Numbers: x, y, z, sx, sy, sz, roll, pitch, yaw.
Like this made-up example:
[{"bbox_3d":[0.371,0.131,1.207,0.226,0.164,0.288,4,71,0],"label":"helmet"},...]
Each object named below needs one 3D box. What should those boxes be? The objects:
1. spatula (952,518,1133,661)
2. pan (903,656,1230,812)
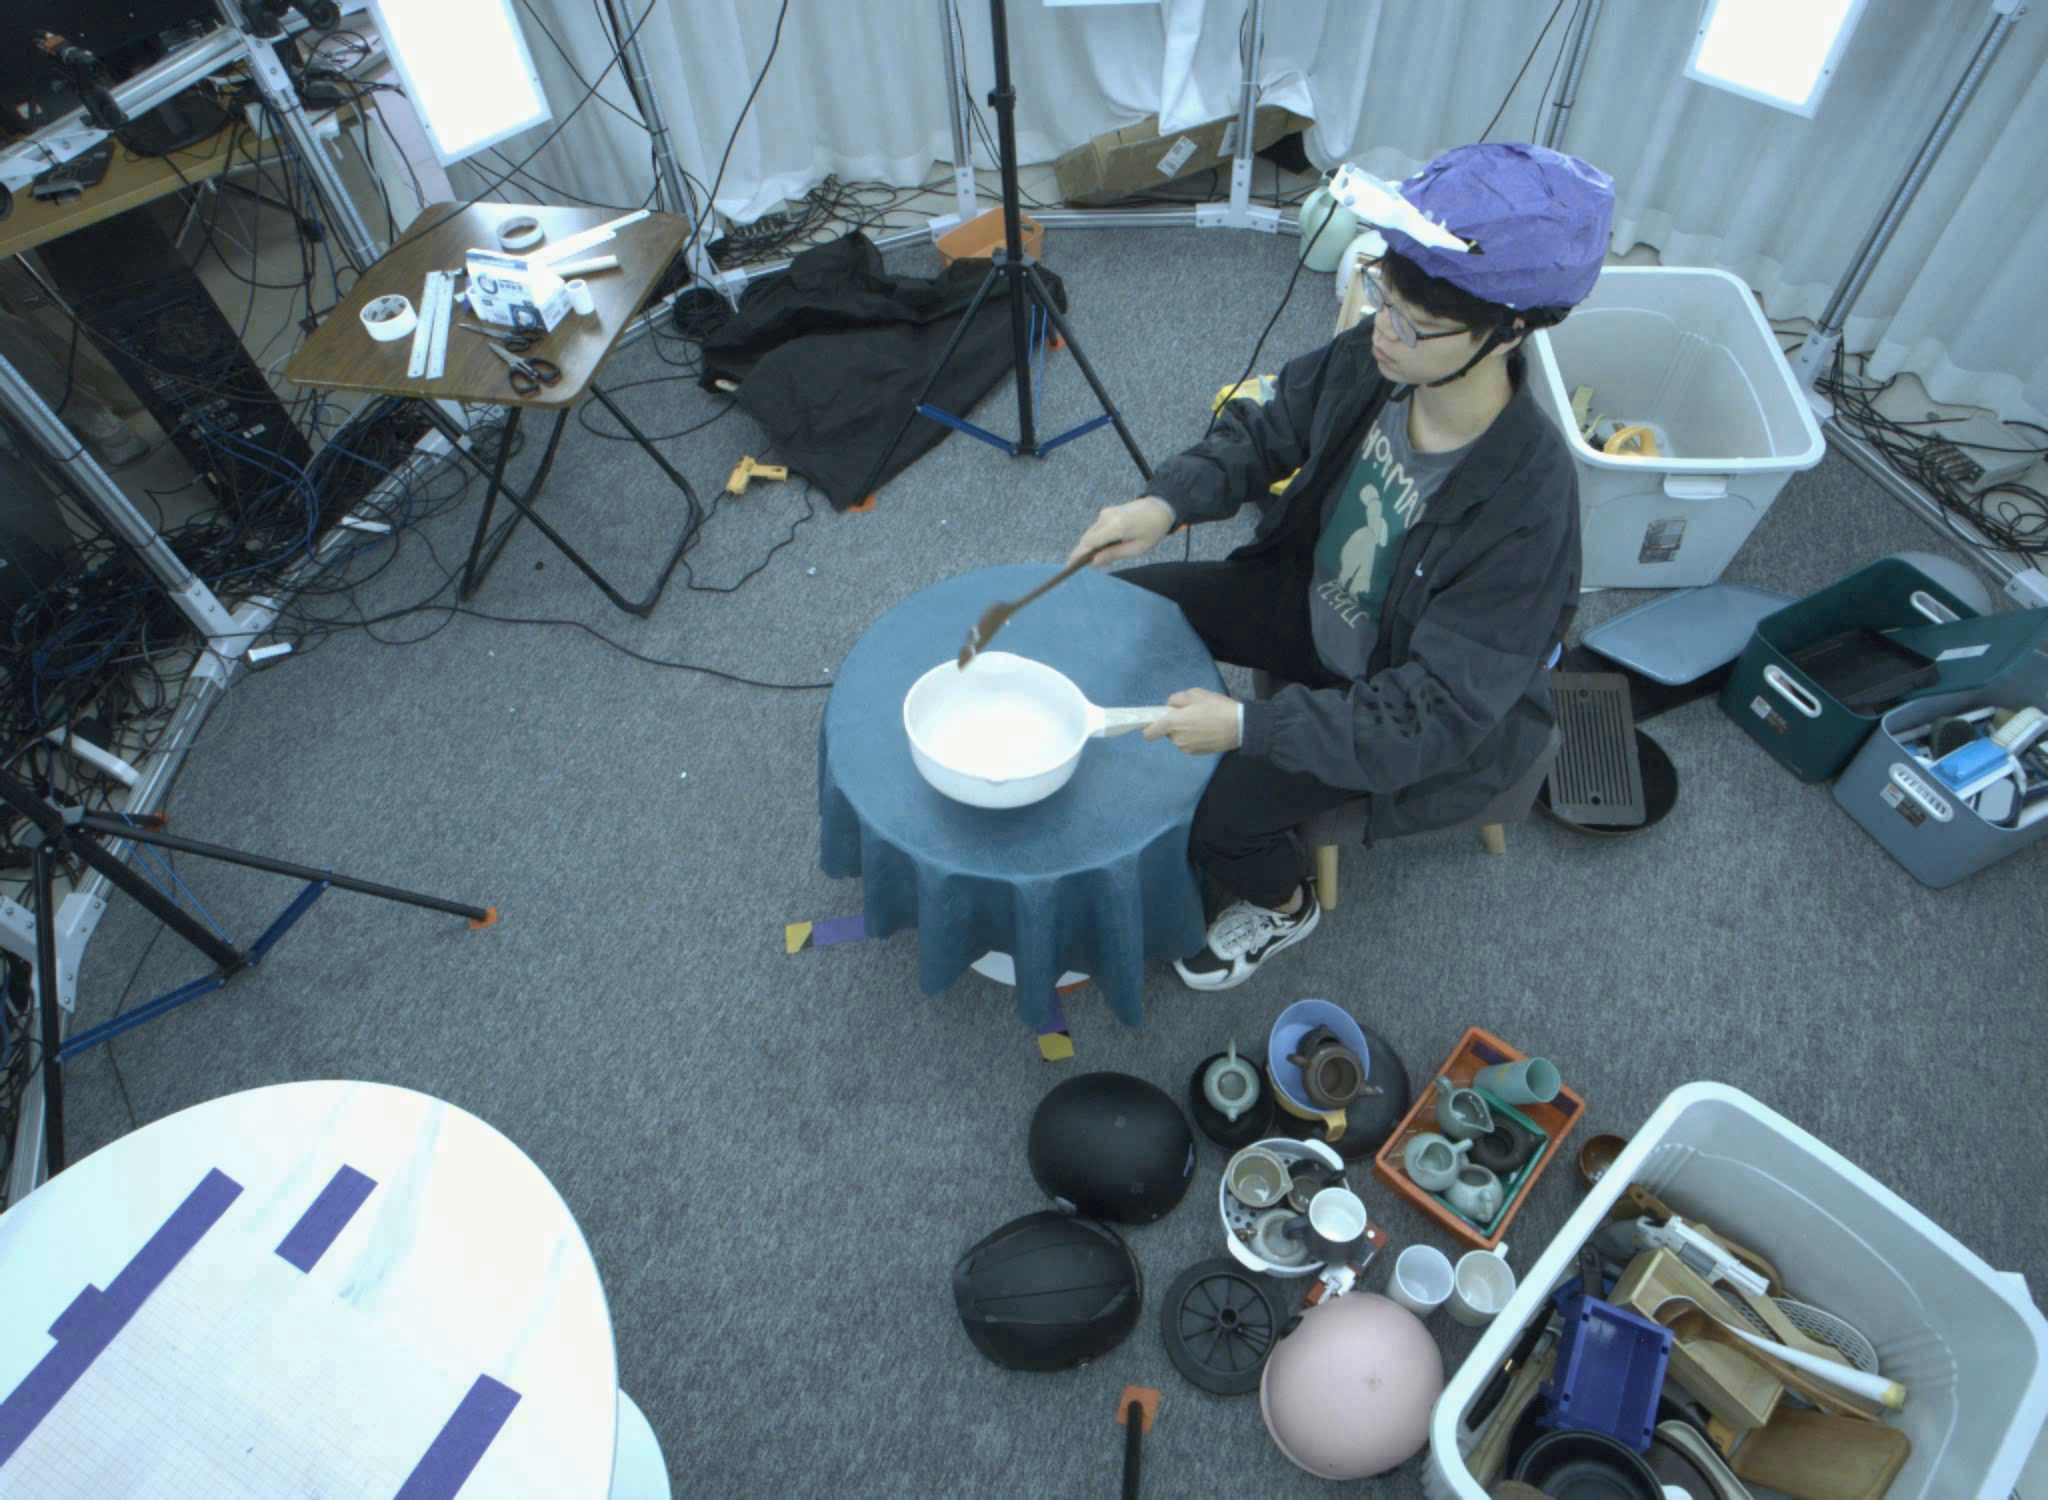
[{"bbox_3d":[0.035,-0.233,1.655,0.015,0.096,0.390,40,51,16],"label":"spatula"},{"bbox_3d":[0.055,-0.018,1.657,0.437,0.103,0.260,2,41,-5],"label":"pan"}]
